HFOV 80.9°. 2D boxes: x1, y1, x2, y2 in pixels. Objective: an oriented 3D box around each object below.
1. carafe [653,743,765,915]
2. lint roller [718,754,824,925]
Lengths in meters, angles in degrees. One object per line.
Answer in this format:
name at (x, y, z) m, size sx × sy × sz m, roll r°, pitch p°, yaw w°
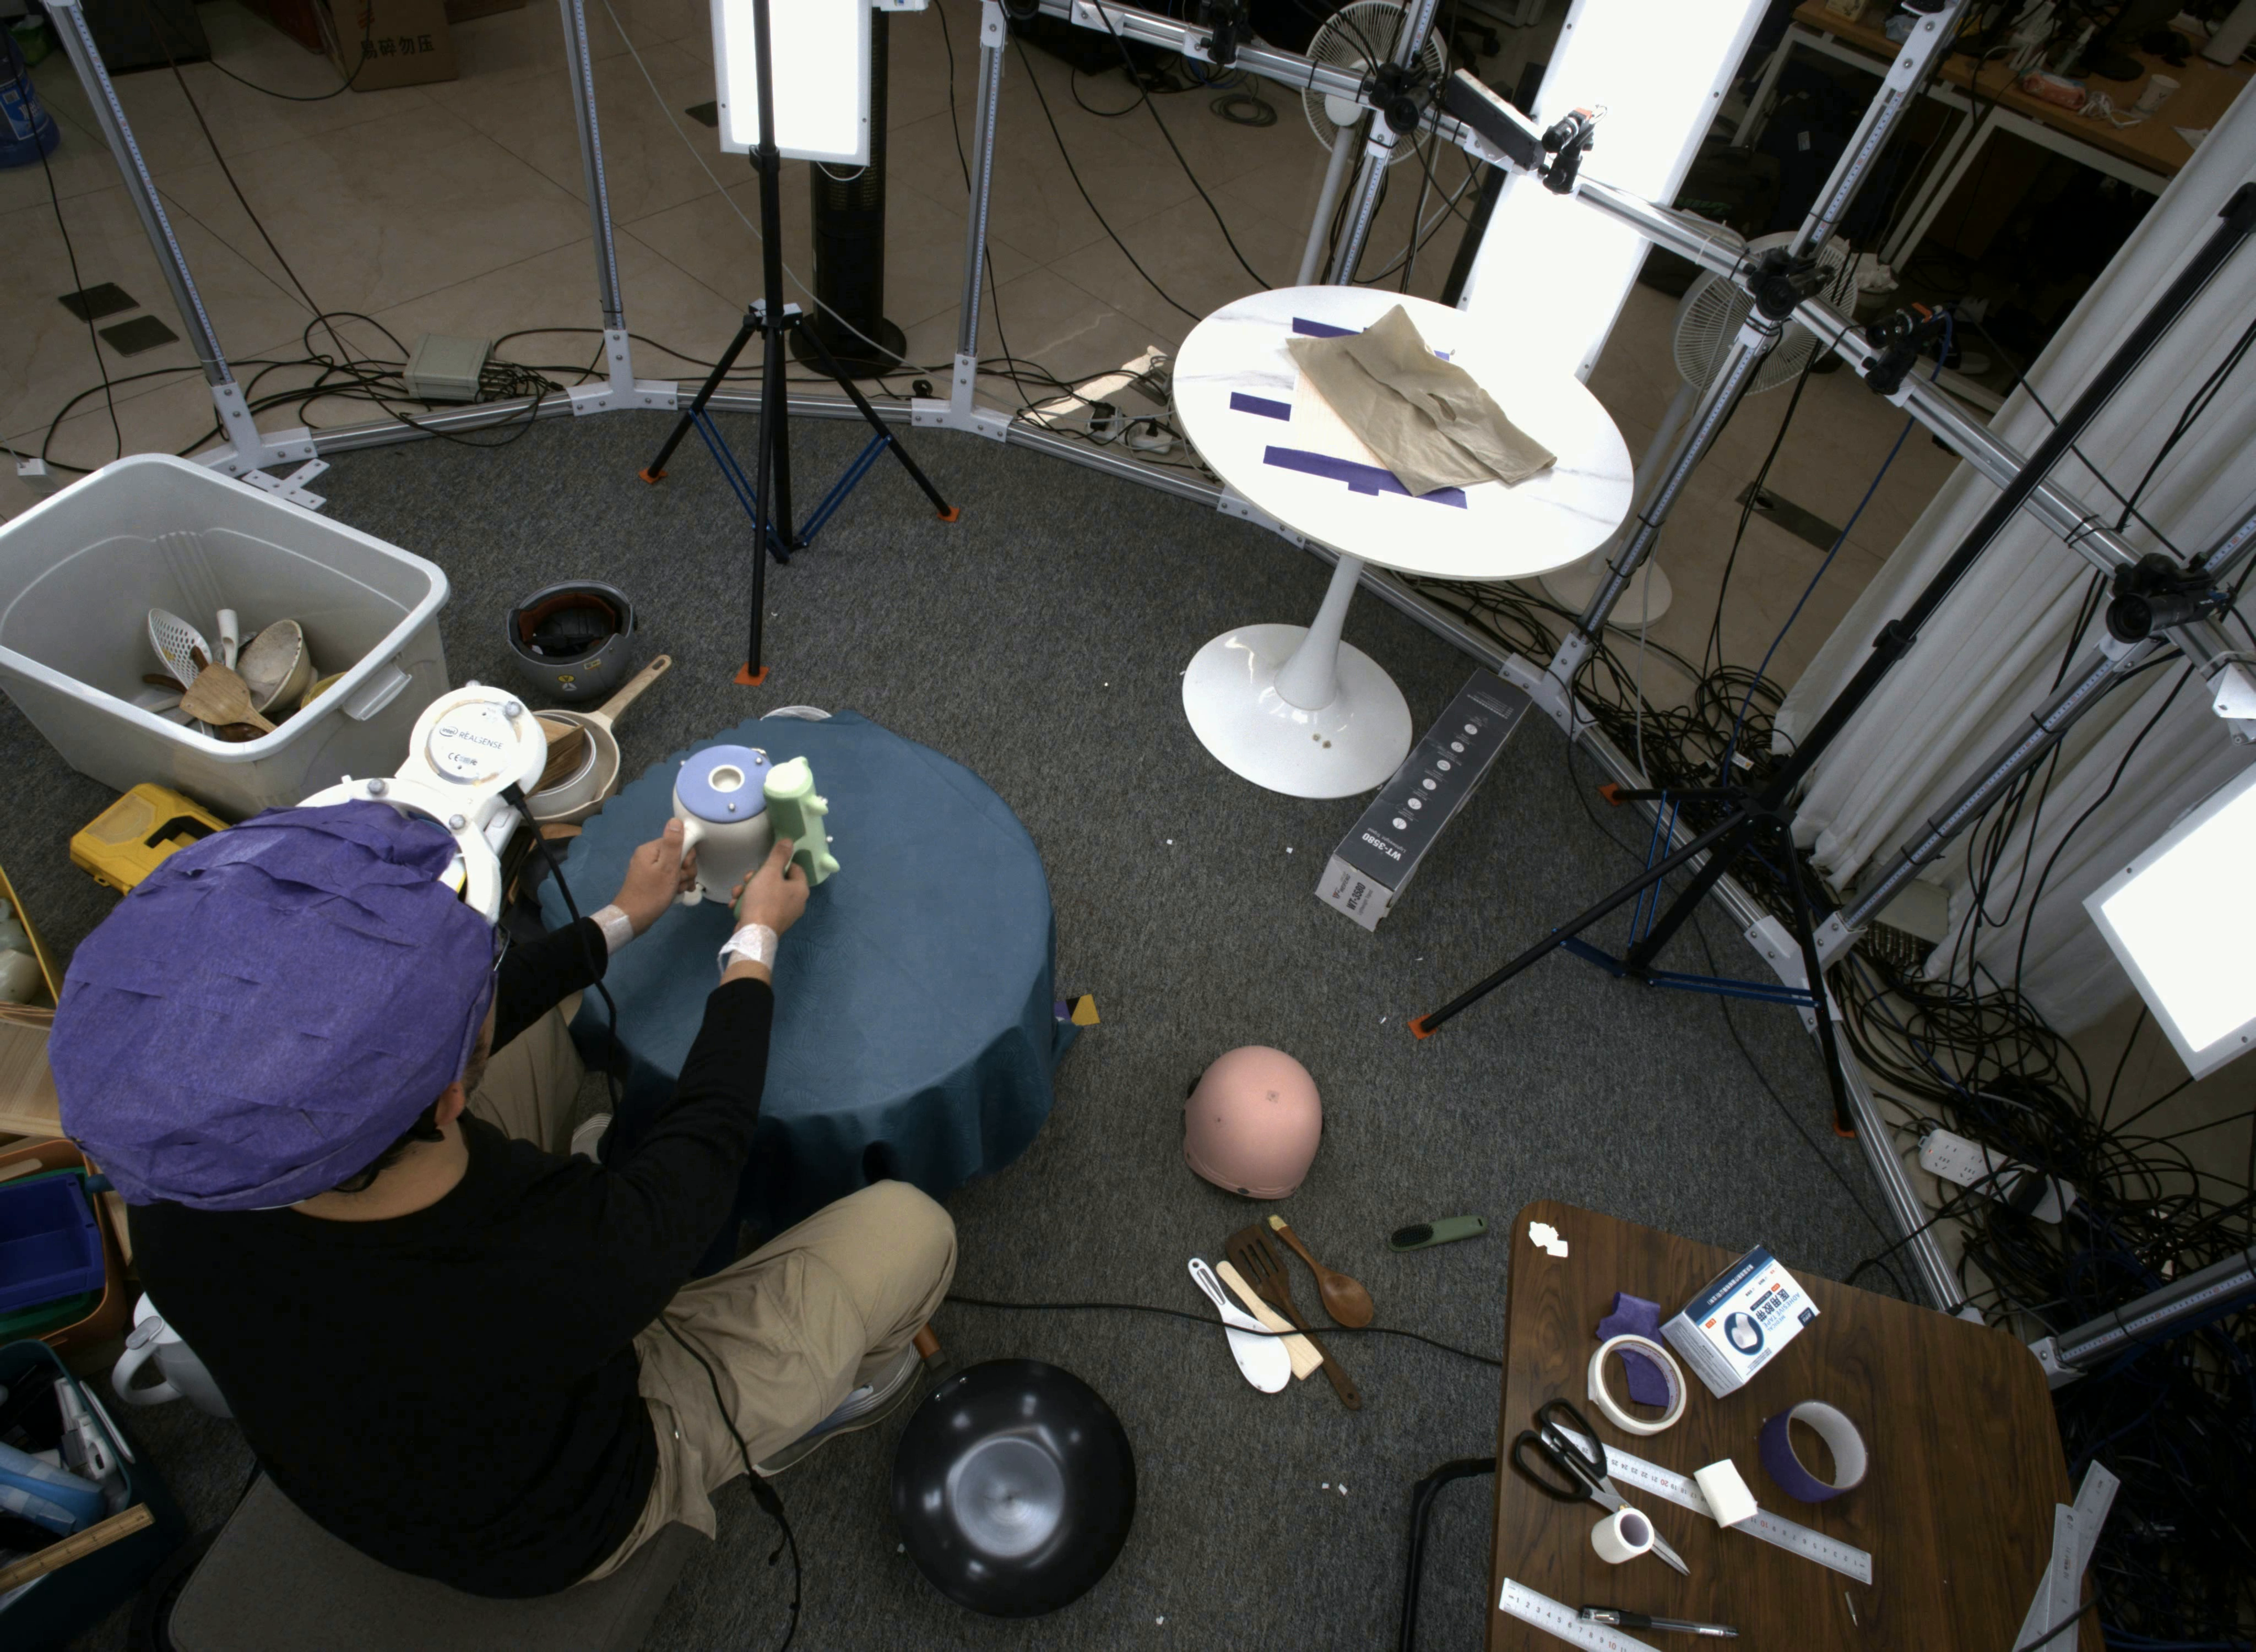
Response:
carafe at (-0.516, 0.015, 1.571) m, size 0.130 × 0.186 × 0.190 m, roll 25°, pitch 54°, yaw 9°
lint roller at (-0.417, 0.043, 1.527) m, size 0.081 × 0.204 × 0.181 m, roll 10°, pitch 53°, yaw 2°
